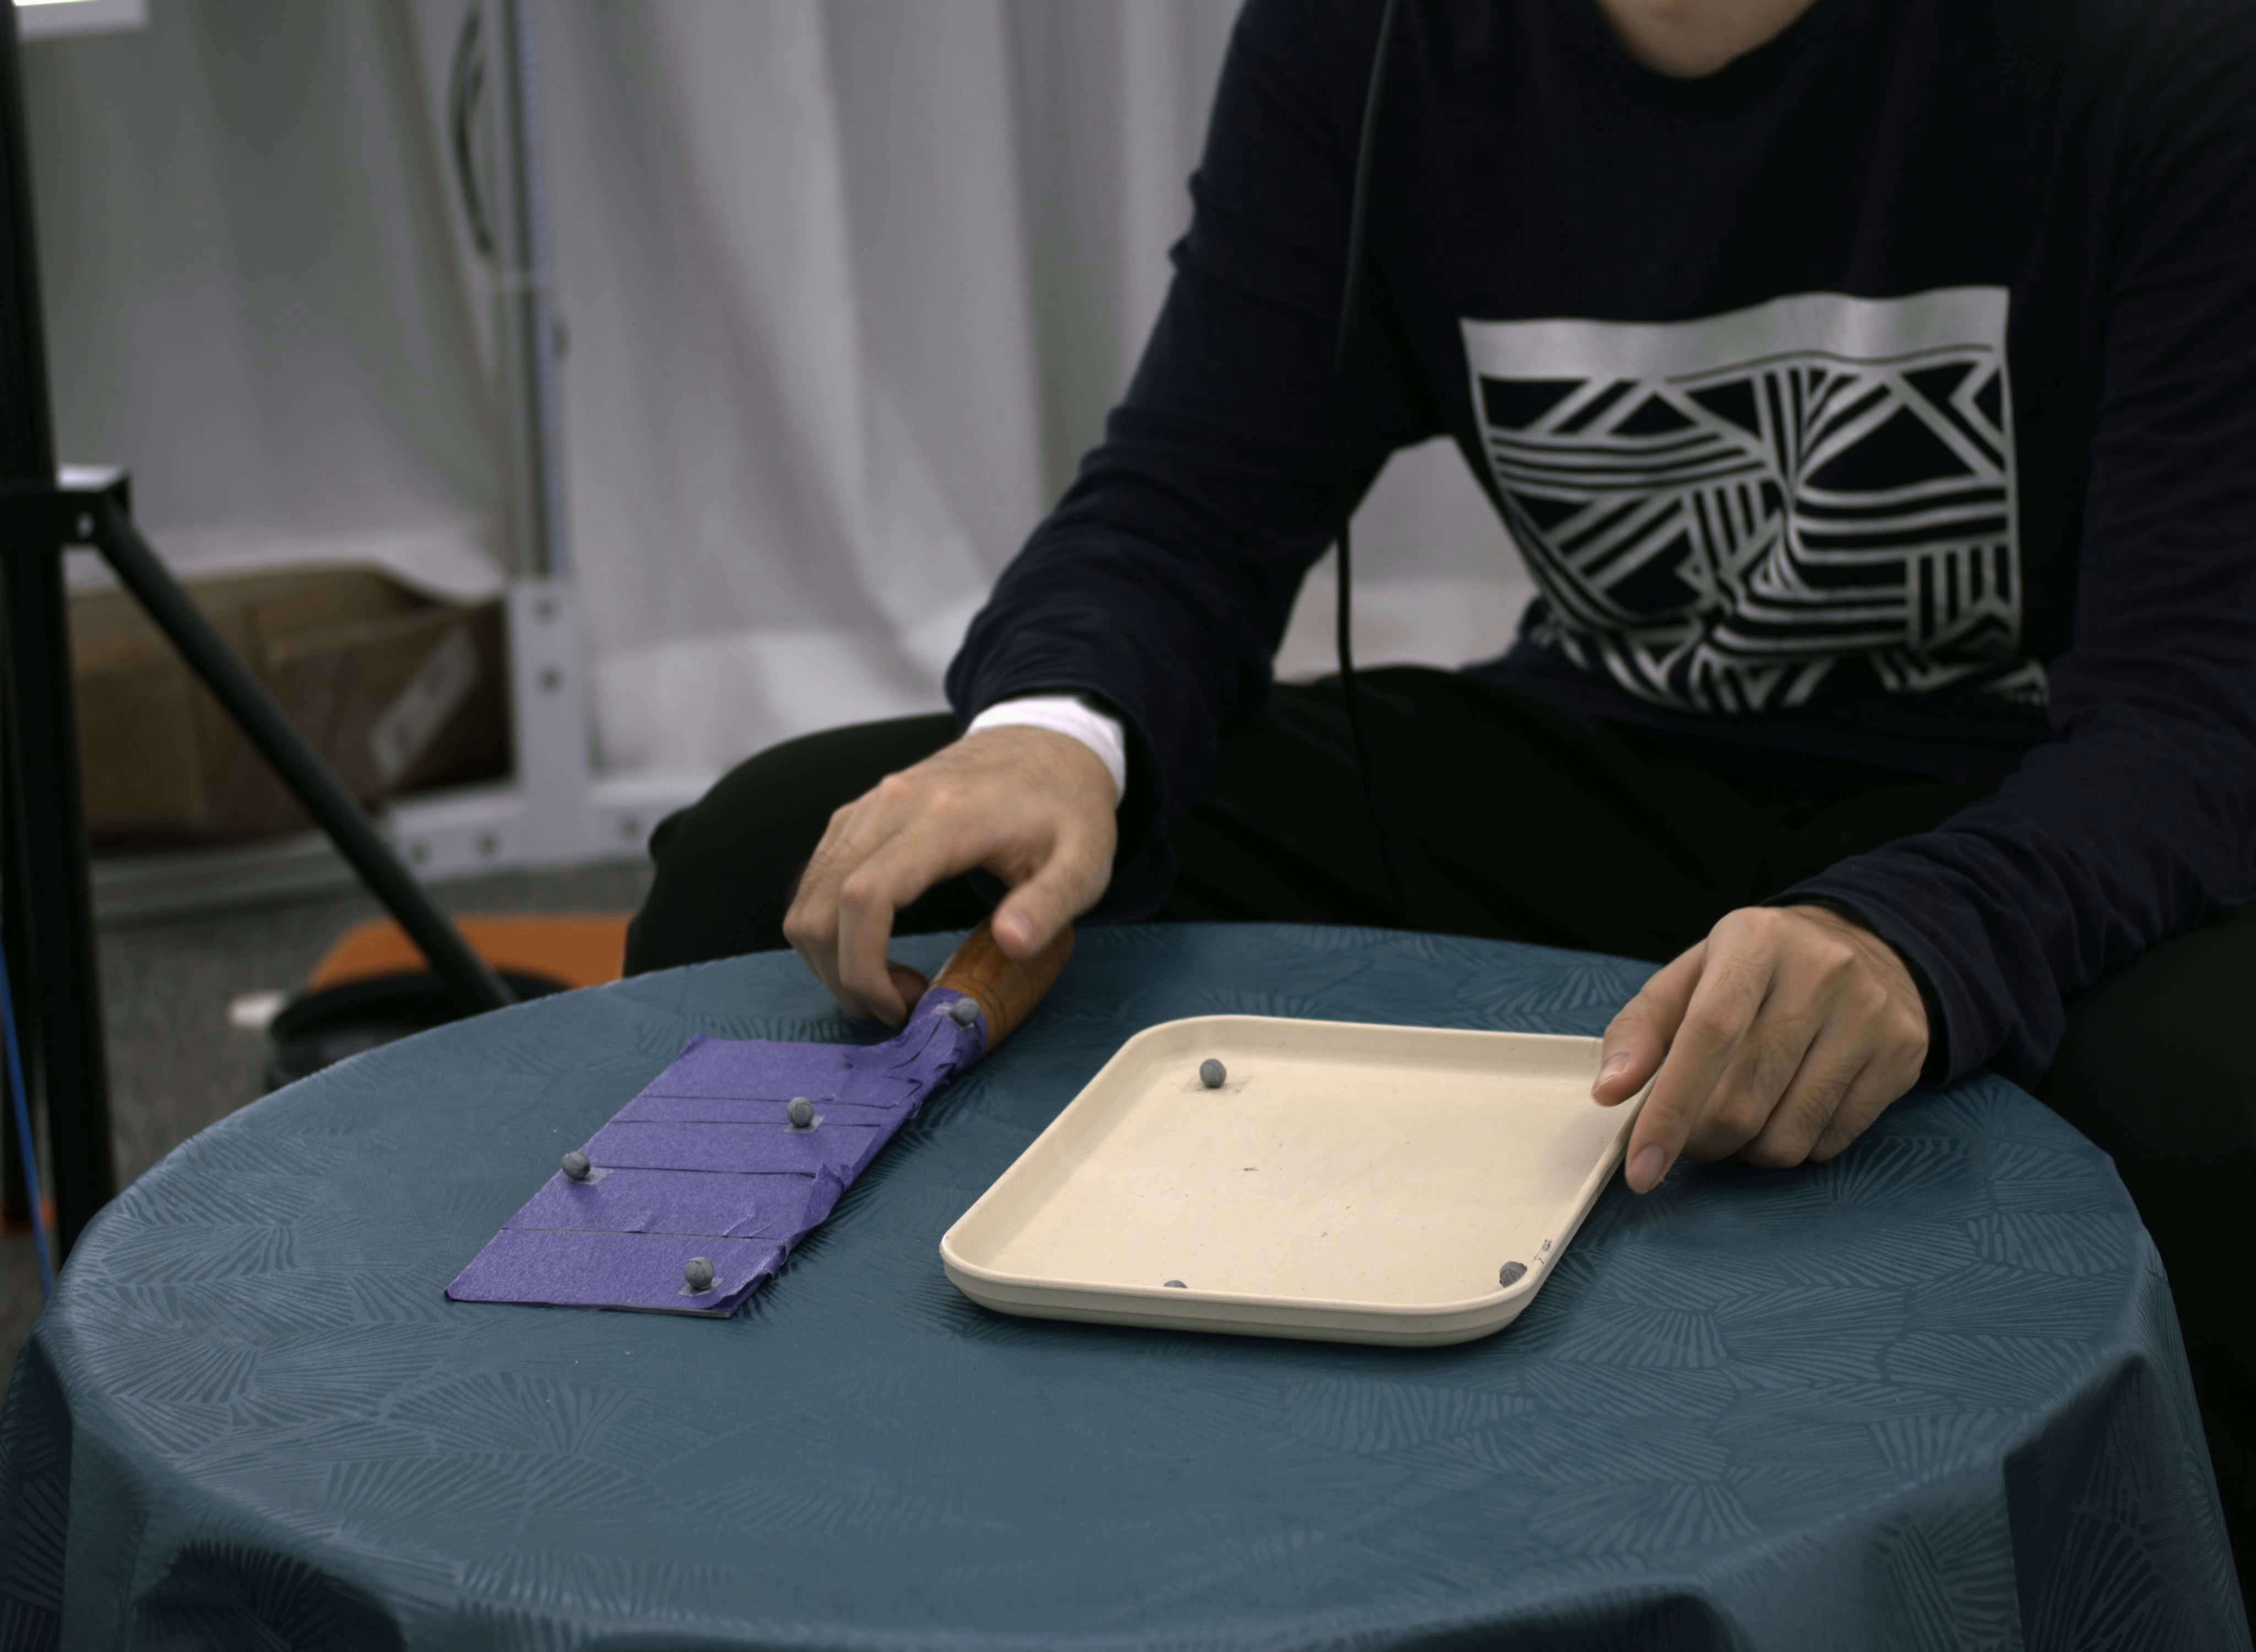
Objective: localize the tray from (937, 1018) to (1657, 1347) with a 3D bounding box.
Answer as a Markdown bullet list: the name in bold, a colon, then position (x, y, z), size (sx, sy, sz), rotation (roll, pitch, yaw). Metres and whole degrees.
- **tray**: position (0.054, 0.102, 1.542), size (0.173, 0.017, 0.237), rotation (2, 16, 18)

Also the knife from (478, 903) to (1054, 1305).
- **knife**: position (-0.107, 0.081, 1.624), size (0.105, 0.032, 0.312), rotation (2, 17, 16)
